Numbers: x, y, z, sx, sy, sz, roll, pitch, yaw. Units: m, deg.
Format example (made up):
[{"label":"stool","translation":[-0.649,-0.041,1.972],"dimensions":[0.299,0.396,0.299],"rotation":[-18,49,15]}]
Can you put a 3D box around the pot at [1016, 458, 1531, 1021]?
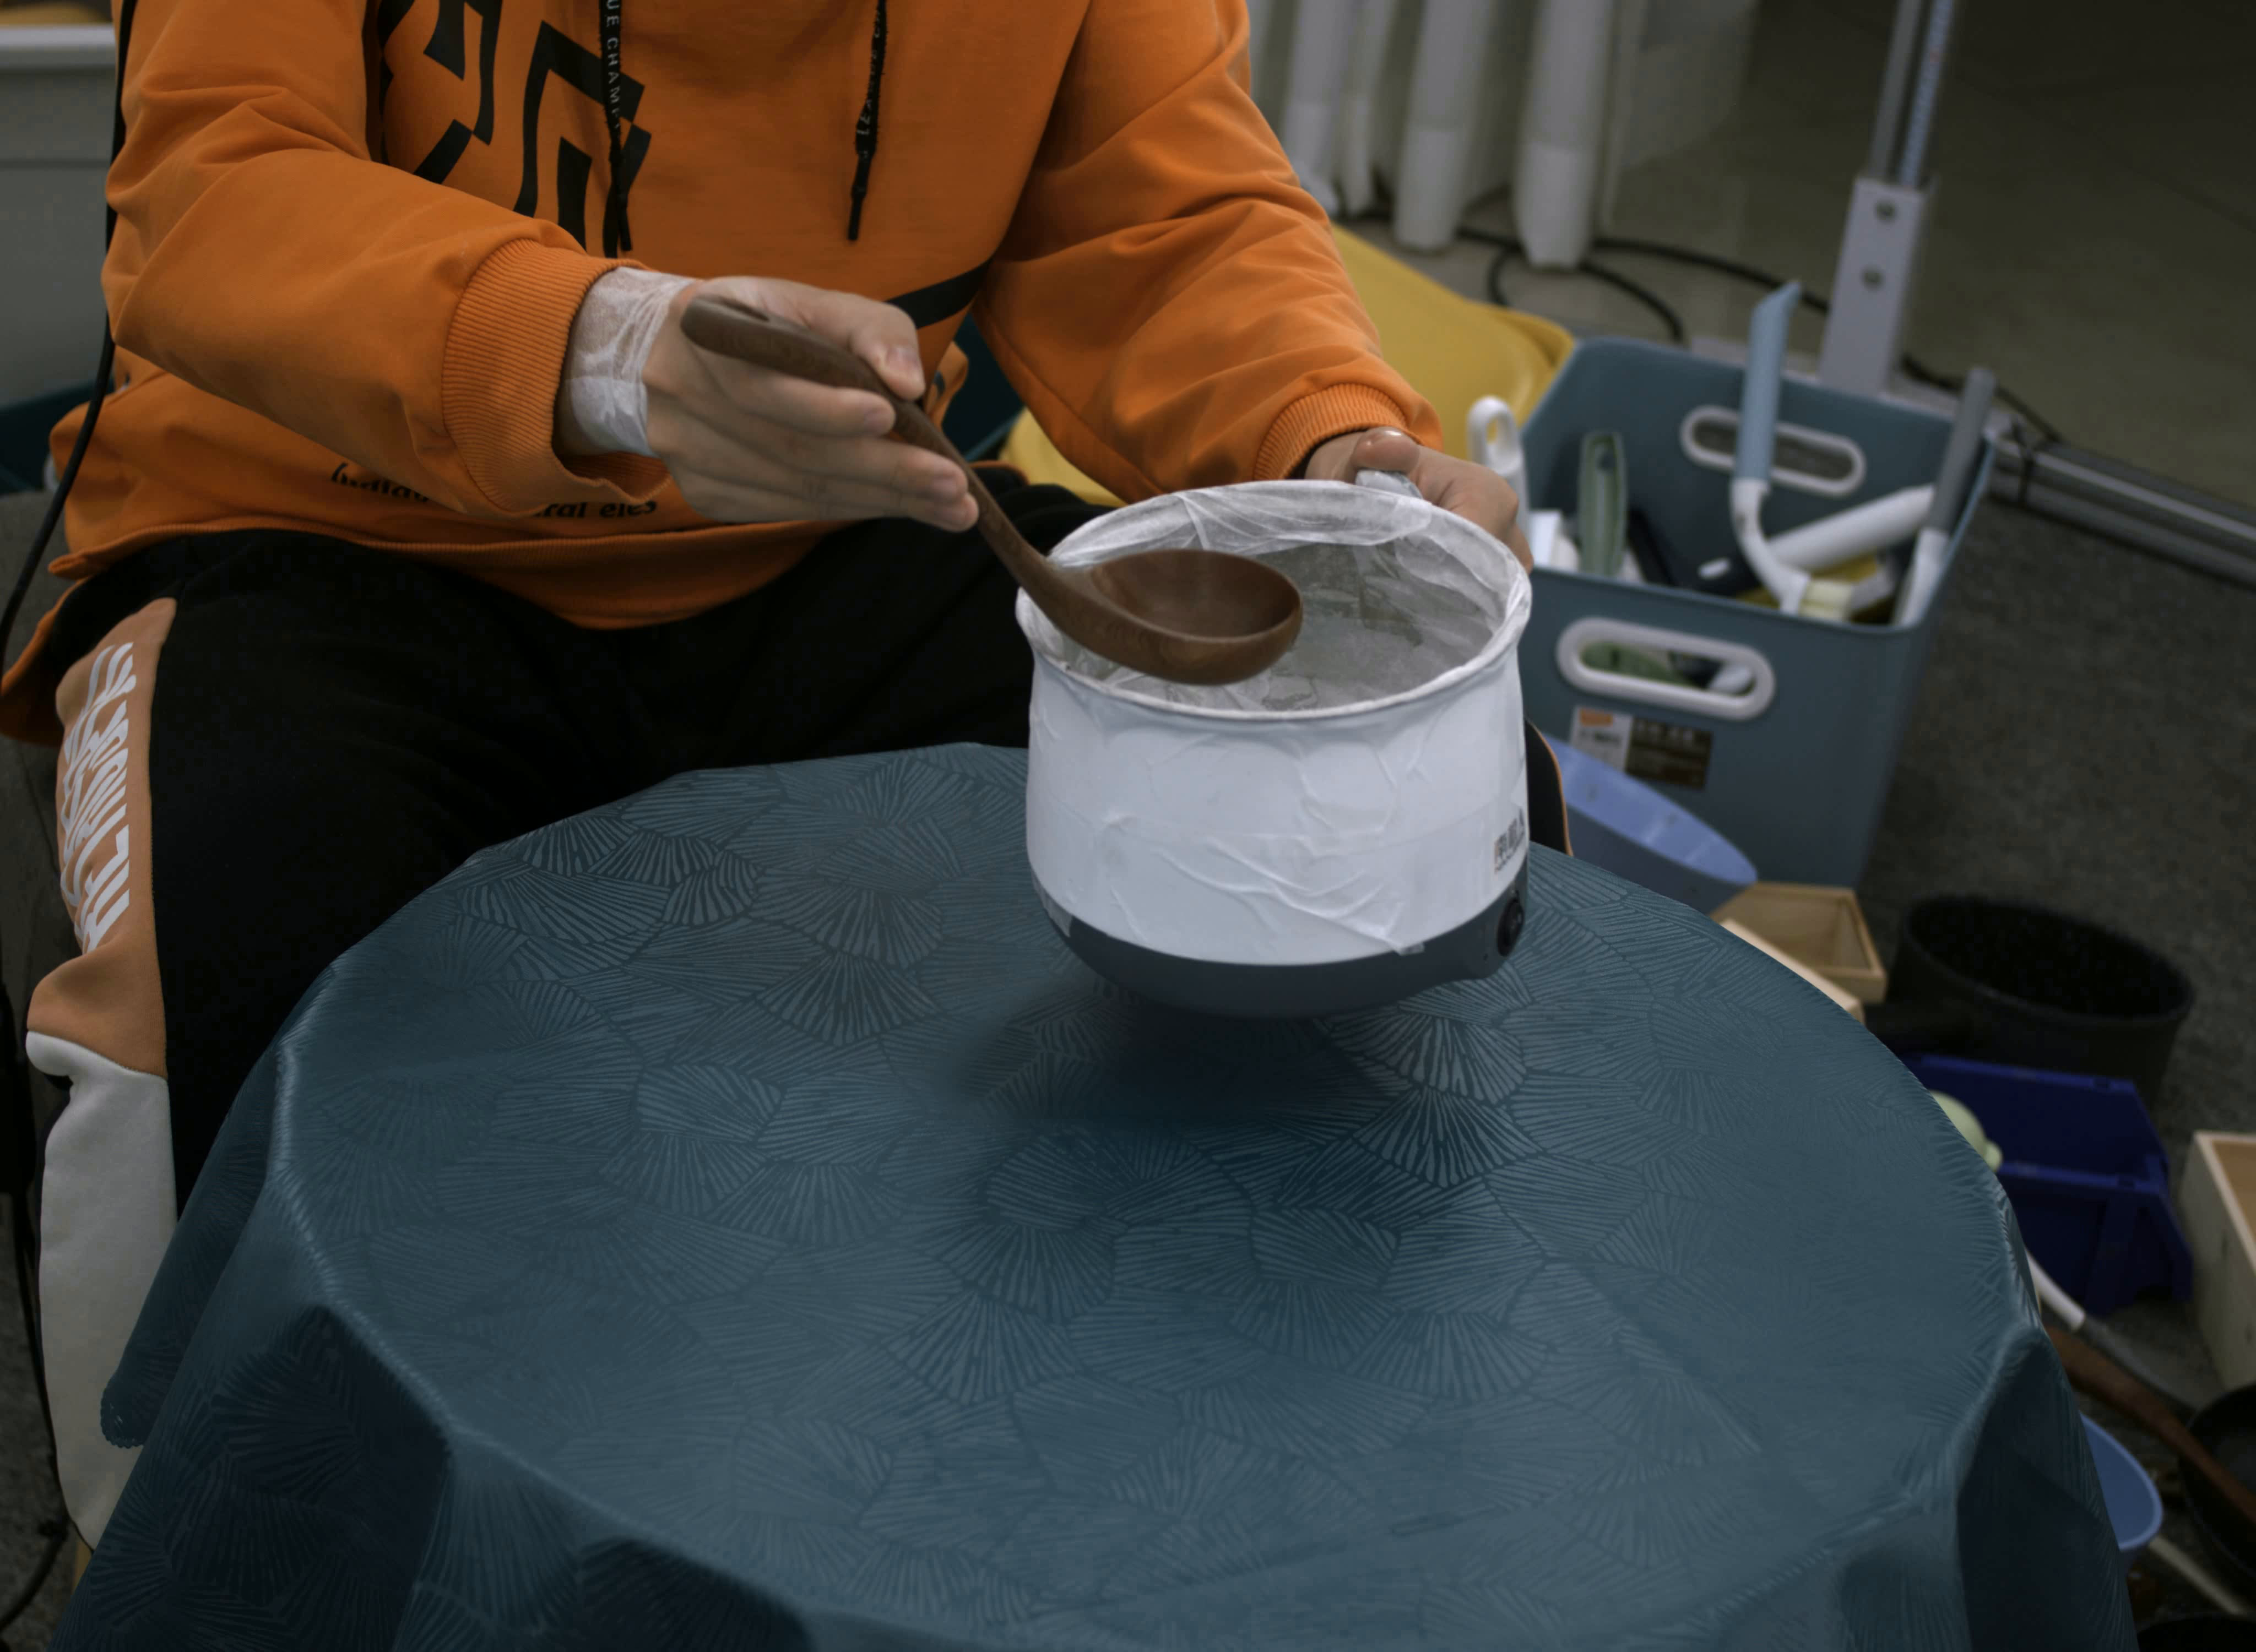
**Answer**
[{"label":"pot","translation":[0.061,-0.038,1.878],"dimensions":[0.179,0.136,0.234],"rotation":[10,32,20]}]

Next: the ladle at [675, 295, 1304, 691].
[{"label":"ladle","translation":[-0.042,-0.119,1.755],"dimensions":[0.258,0.065,0.077],"rotation":[38,1,-35]}]
